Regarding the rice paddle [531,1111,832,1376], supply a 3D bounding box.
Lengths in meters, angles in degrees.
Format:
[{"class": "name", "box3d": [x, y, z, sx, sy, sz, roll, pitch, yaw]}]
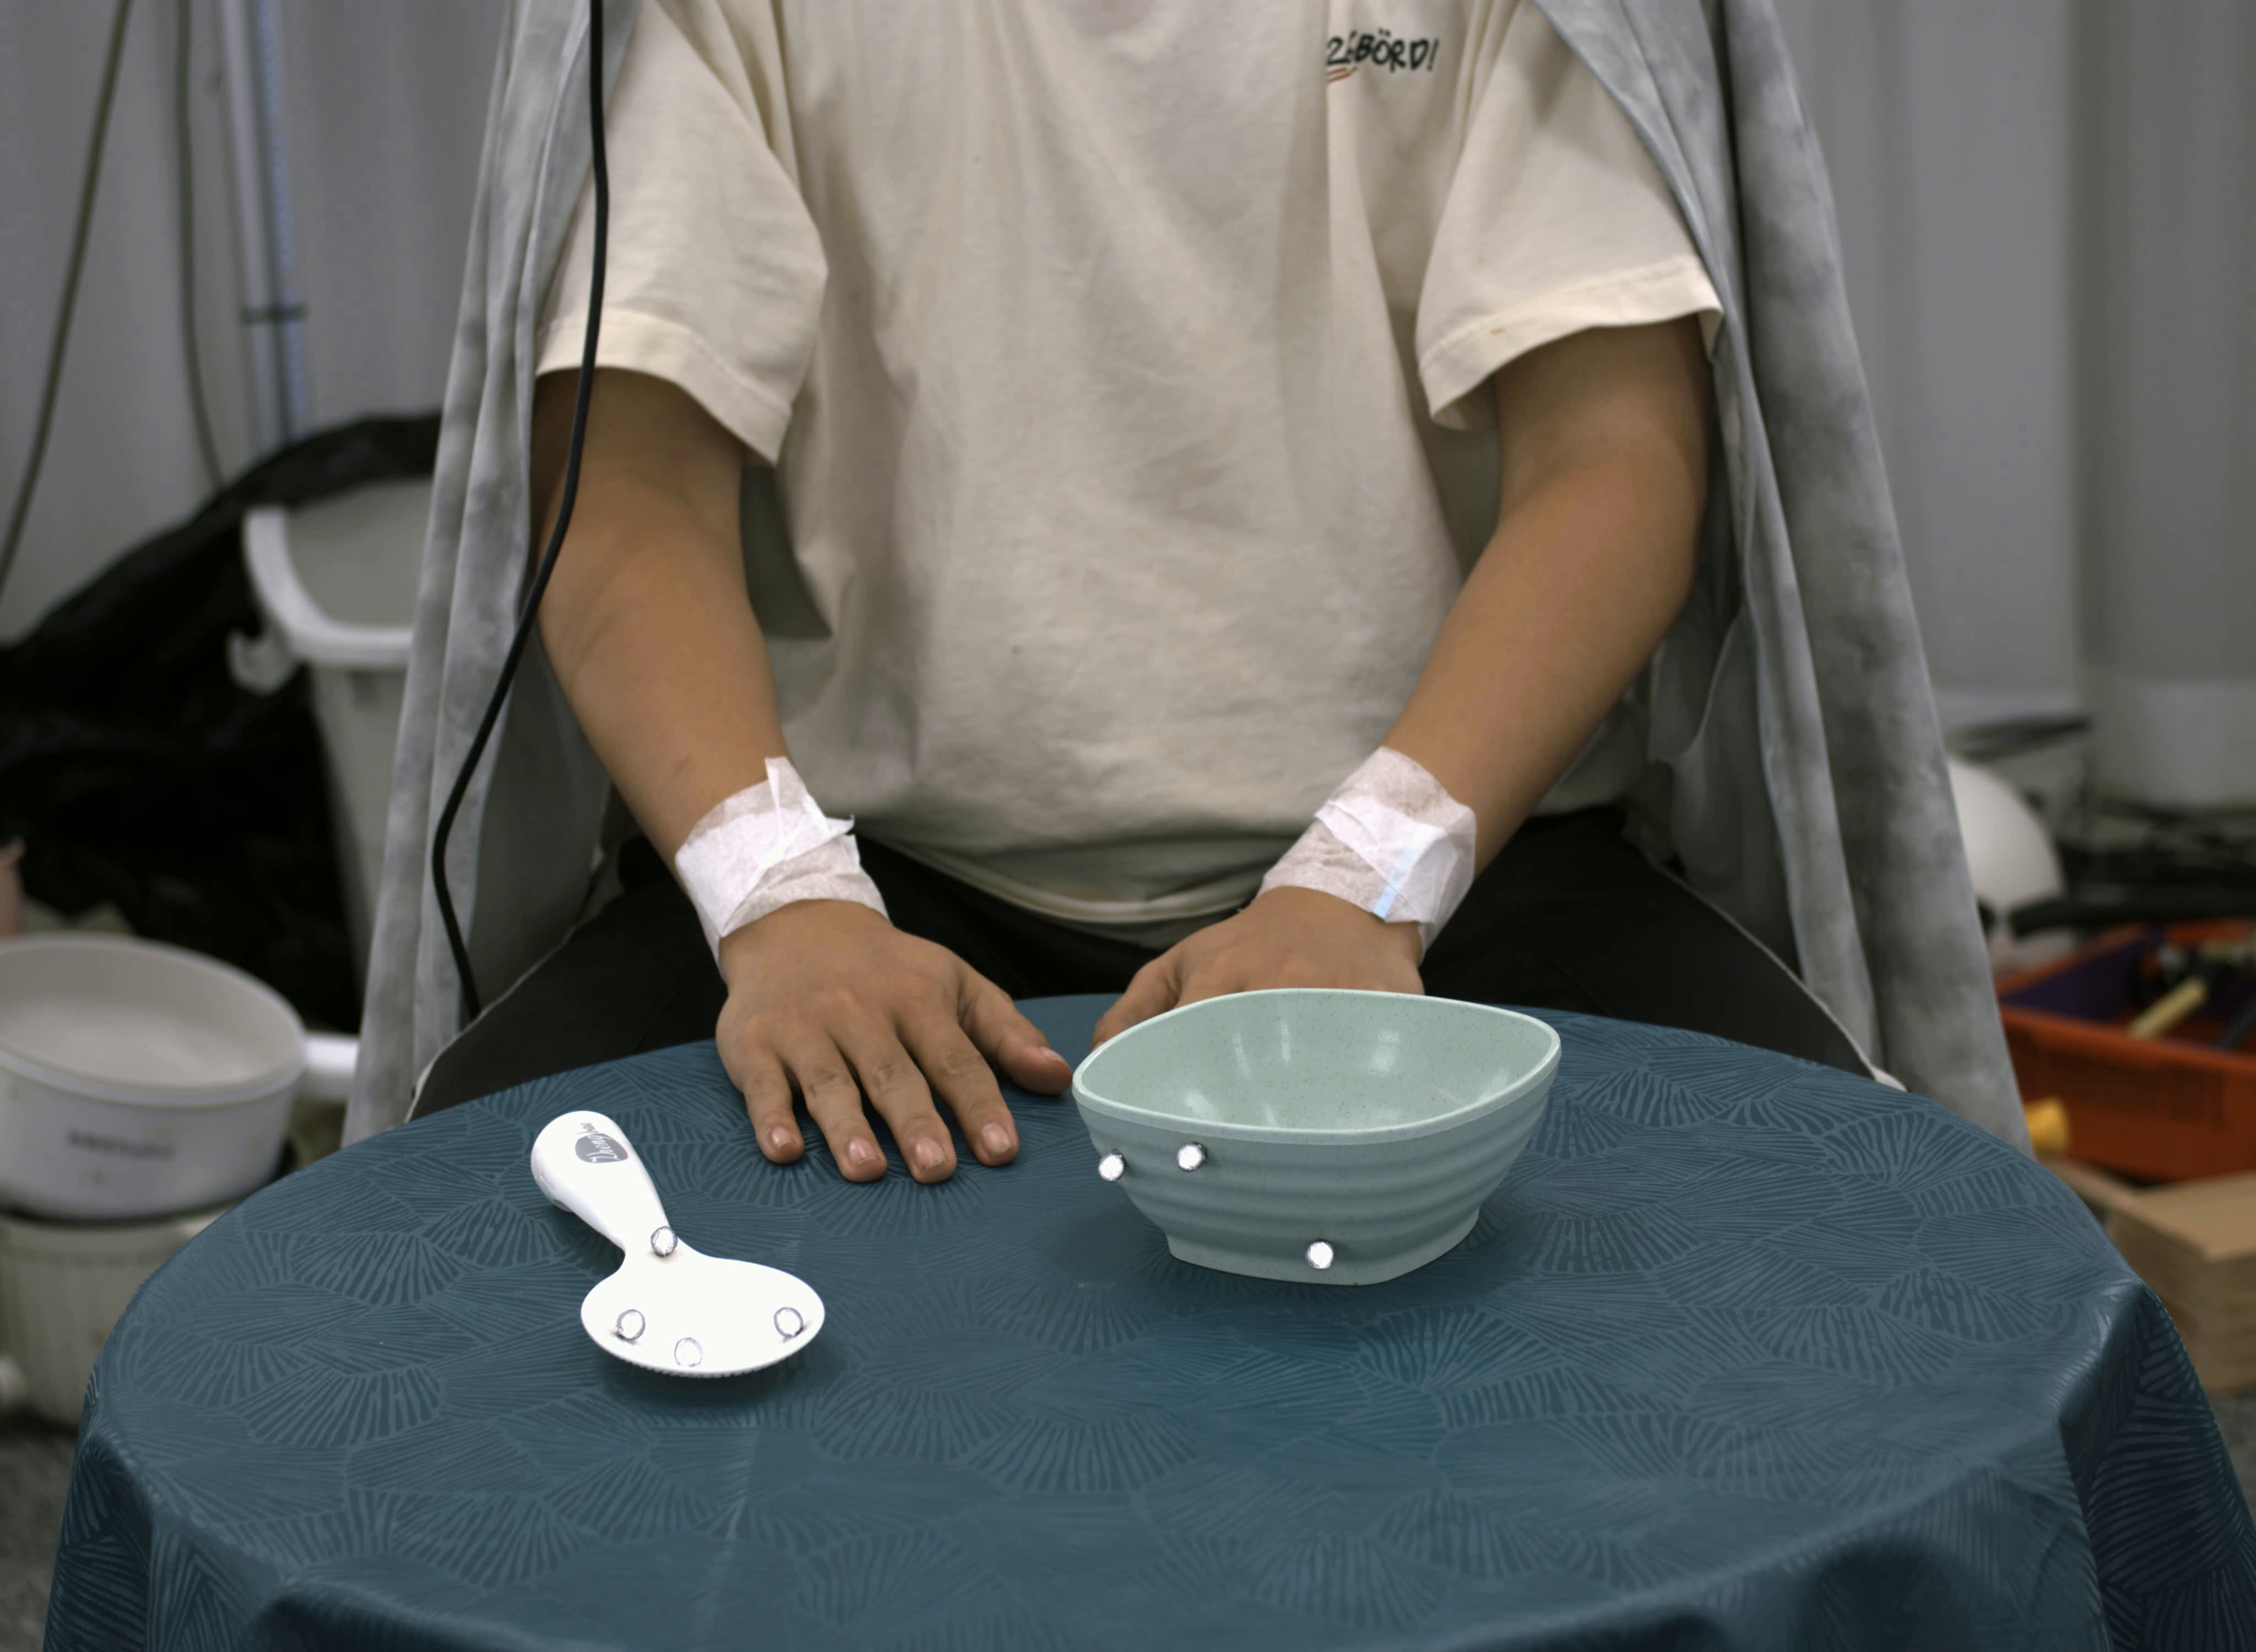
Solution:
[{"class": "rice paddle", "box3d": [-0.140, 0.127, 1.640, 0.068, 0.029, 0.207, -9, 16, -17]}]

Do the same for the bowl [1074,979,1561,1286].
[{"class": "bowl", "box3d": [0.060, 0.097, 1.660, 0.151, 0.058, 0.152, -6, 16, 1]}]
